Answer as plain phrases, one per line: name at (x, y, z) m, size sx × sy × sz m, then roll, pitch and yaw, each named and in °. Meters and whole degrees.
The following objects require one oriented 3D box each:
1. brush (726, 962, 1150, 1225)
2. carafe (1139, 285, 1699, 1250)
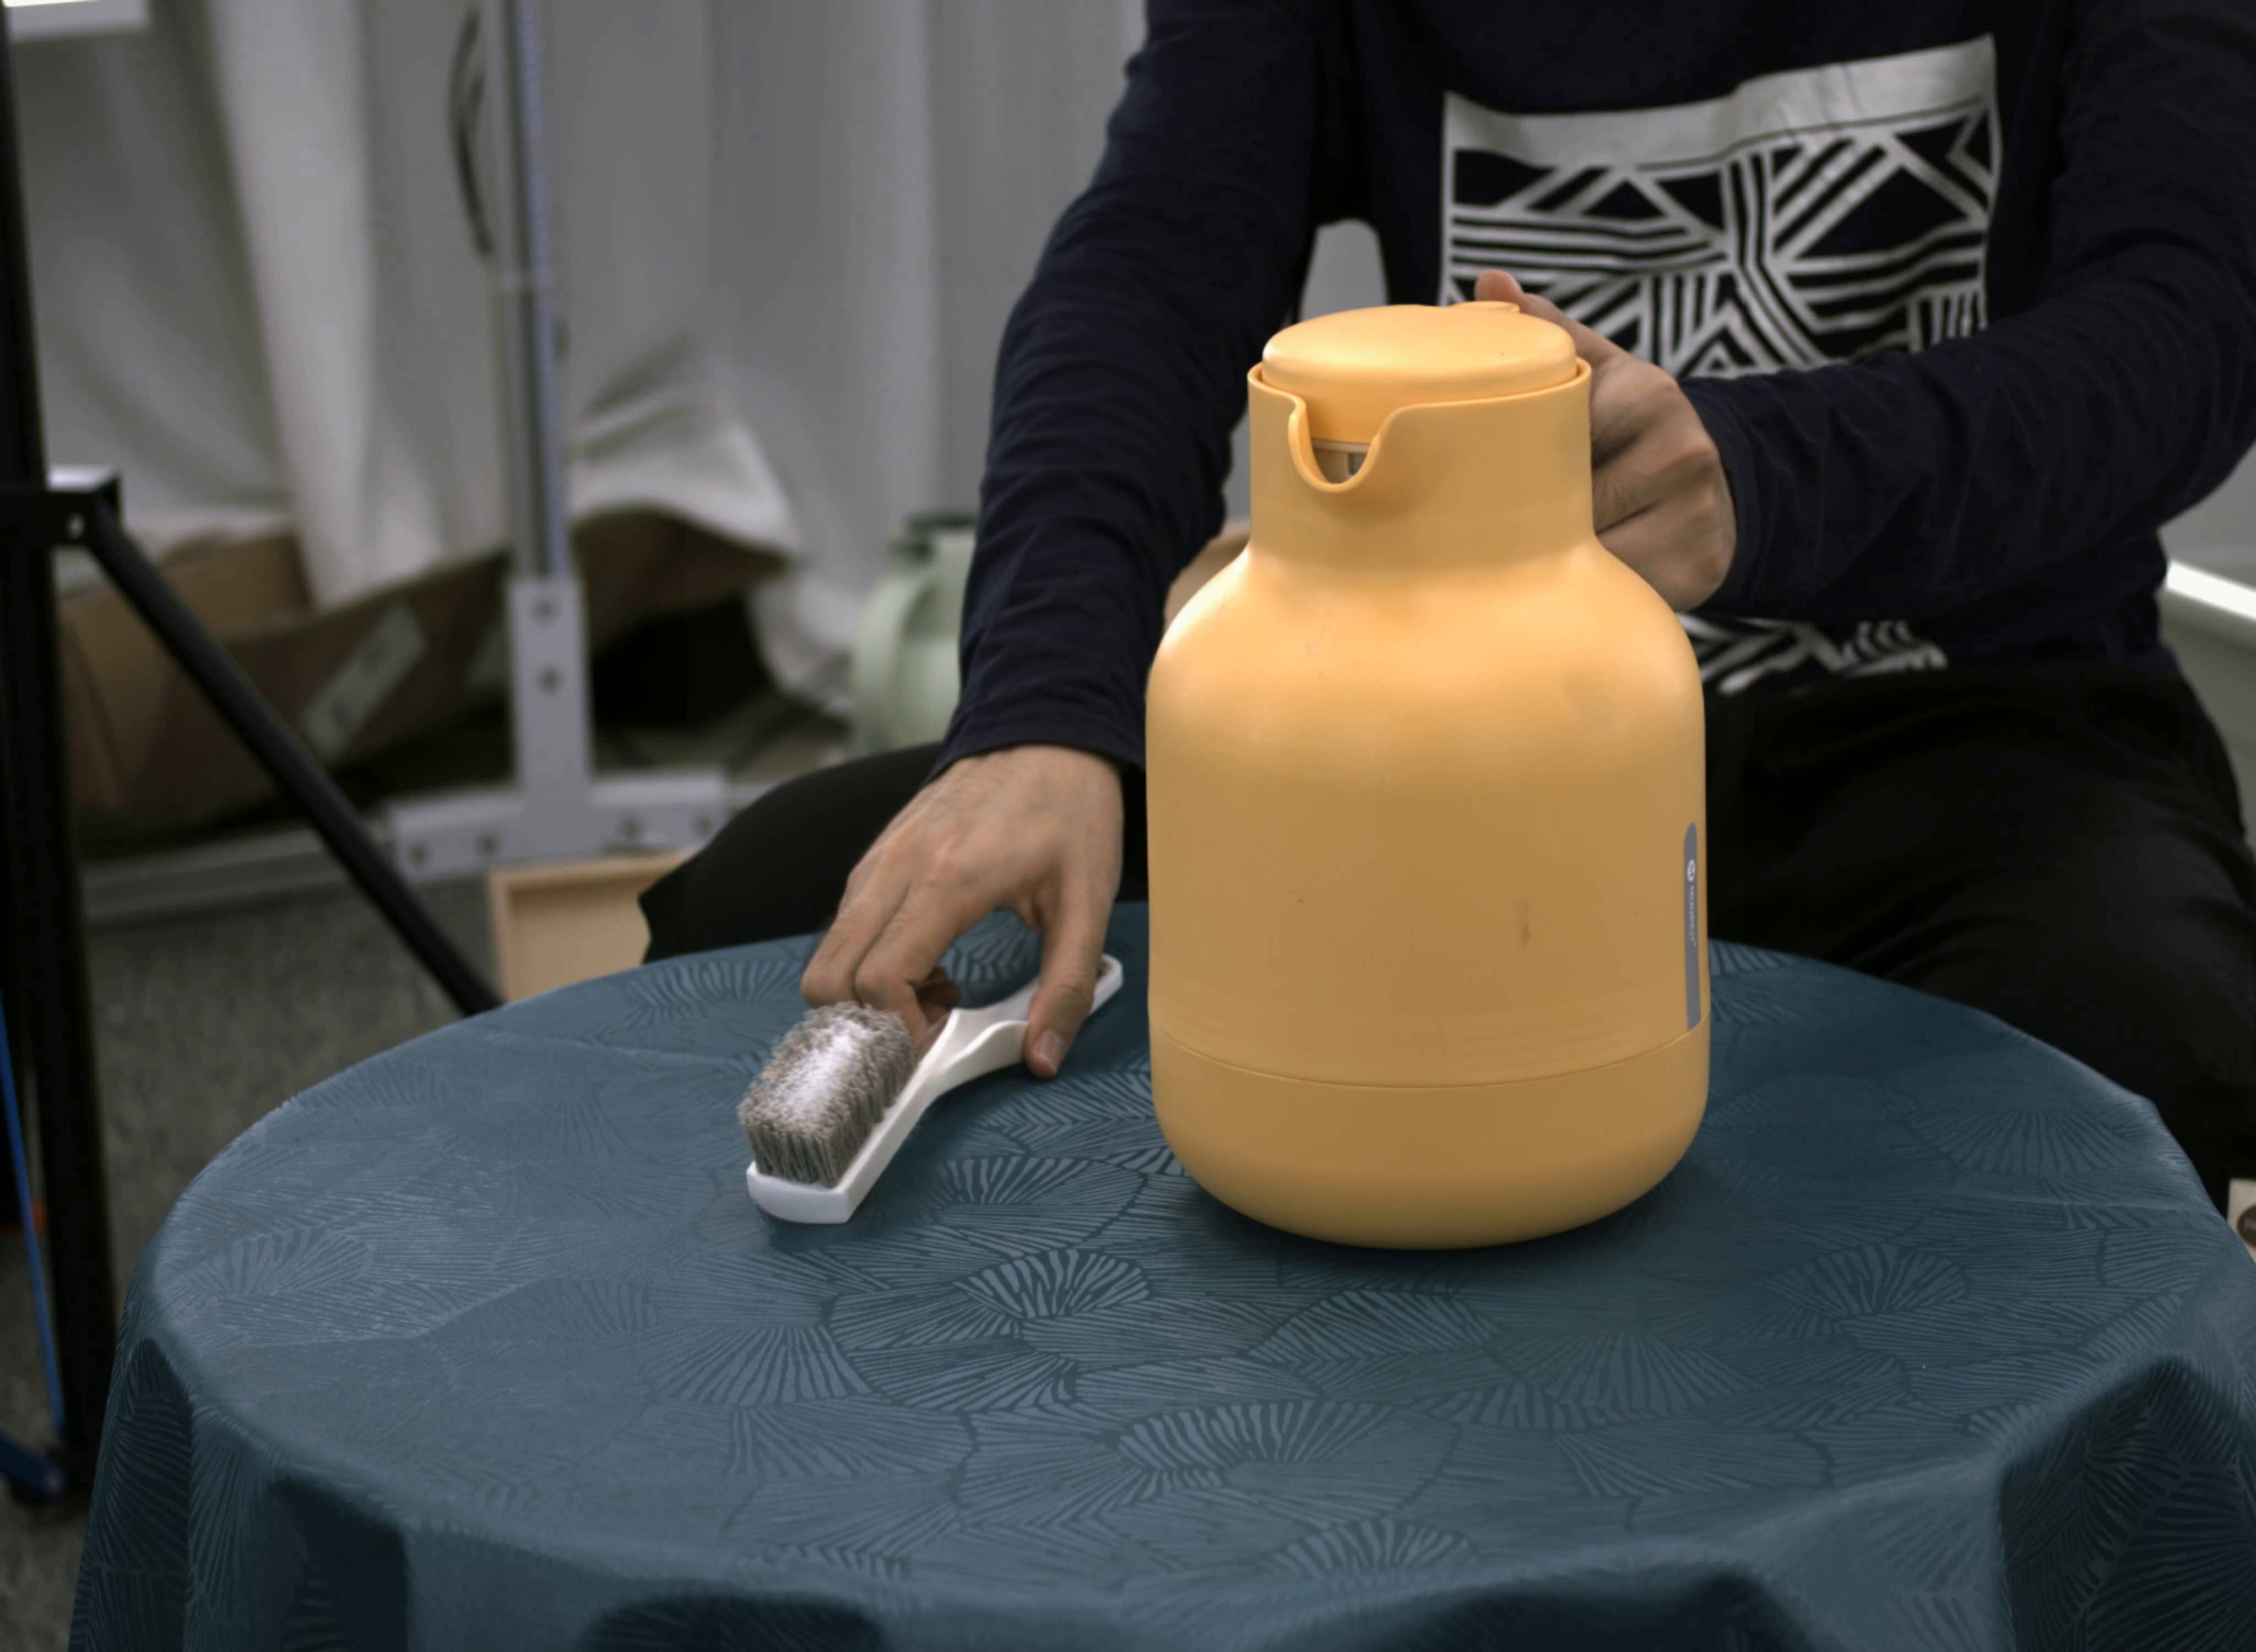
brush at (-0.053, 0.062, 1.636) m, size 0.035 × 0.050 × 0.240 m, roll 4°, pitch 18°, yaw 26°
carafe at (0.092, -0.024, 1.536) m, size 0.166 × 0.260 × 0.199 m, roll 8°, pitch 19°, yaw 23°
